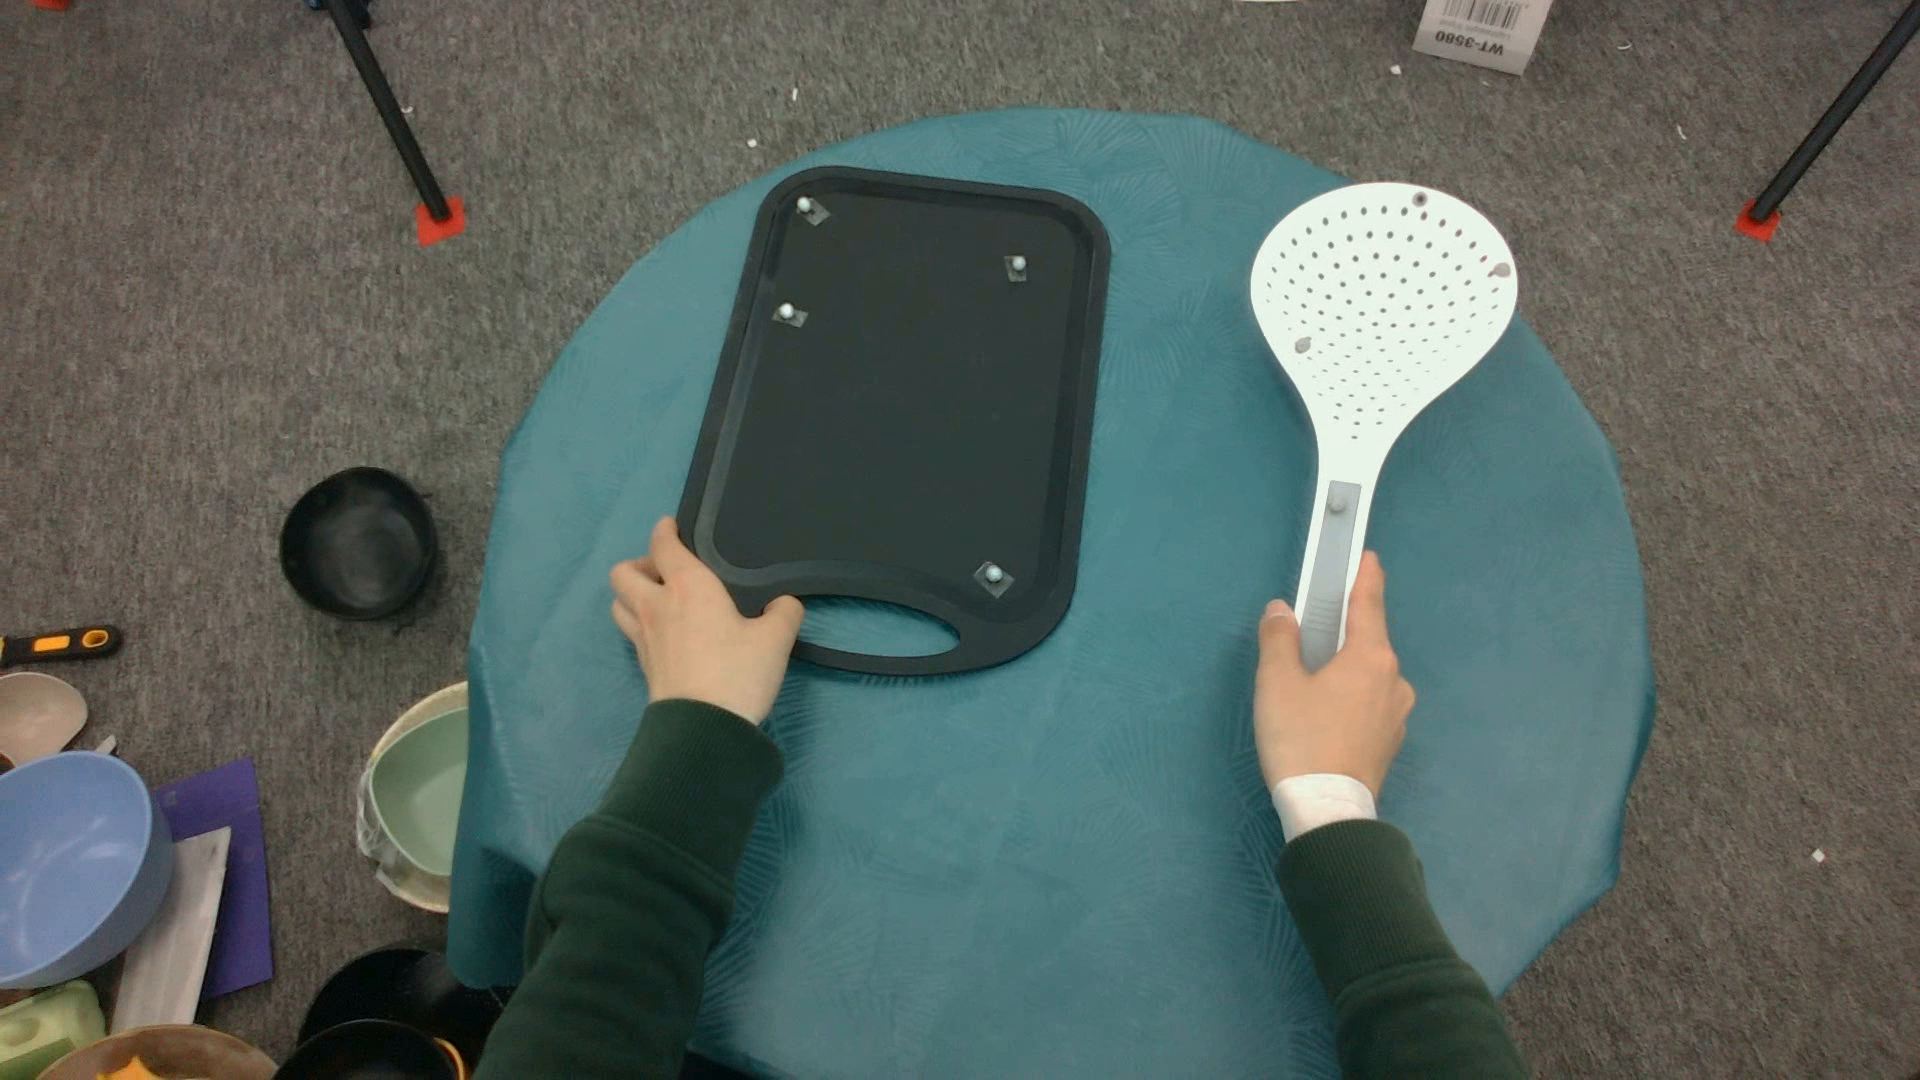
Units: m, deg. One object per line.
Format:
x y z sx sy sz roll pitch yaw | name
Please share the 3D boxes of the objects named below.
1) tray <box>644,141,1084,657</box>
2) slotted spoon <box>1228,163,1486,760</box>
-0.046 -0.089 0.751 0.211 0.010 0.326 7 63 2 | tray
0.188 -0.053 0.710 0.136 0.045 0.351 9 60 16 | slotted spoon
